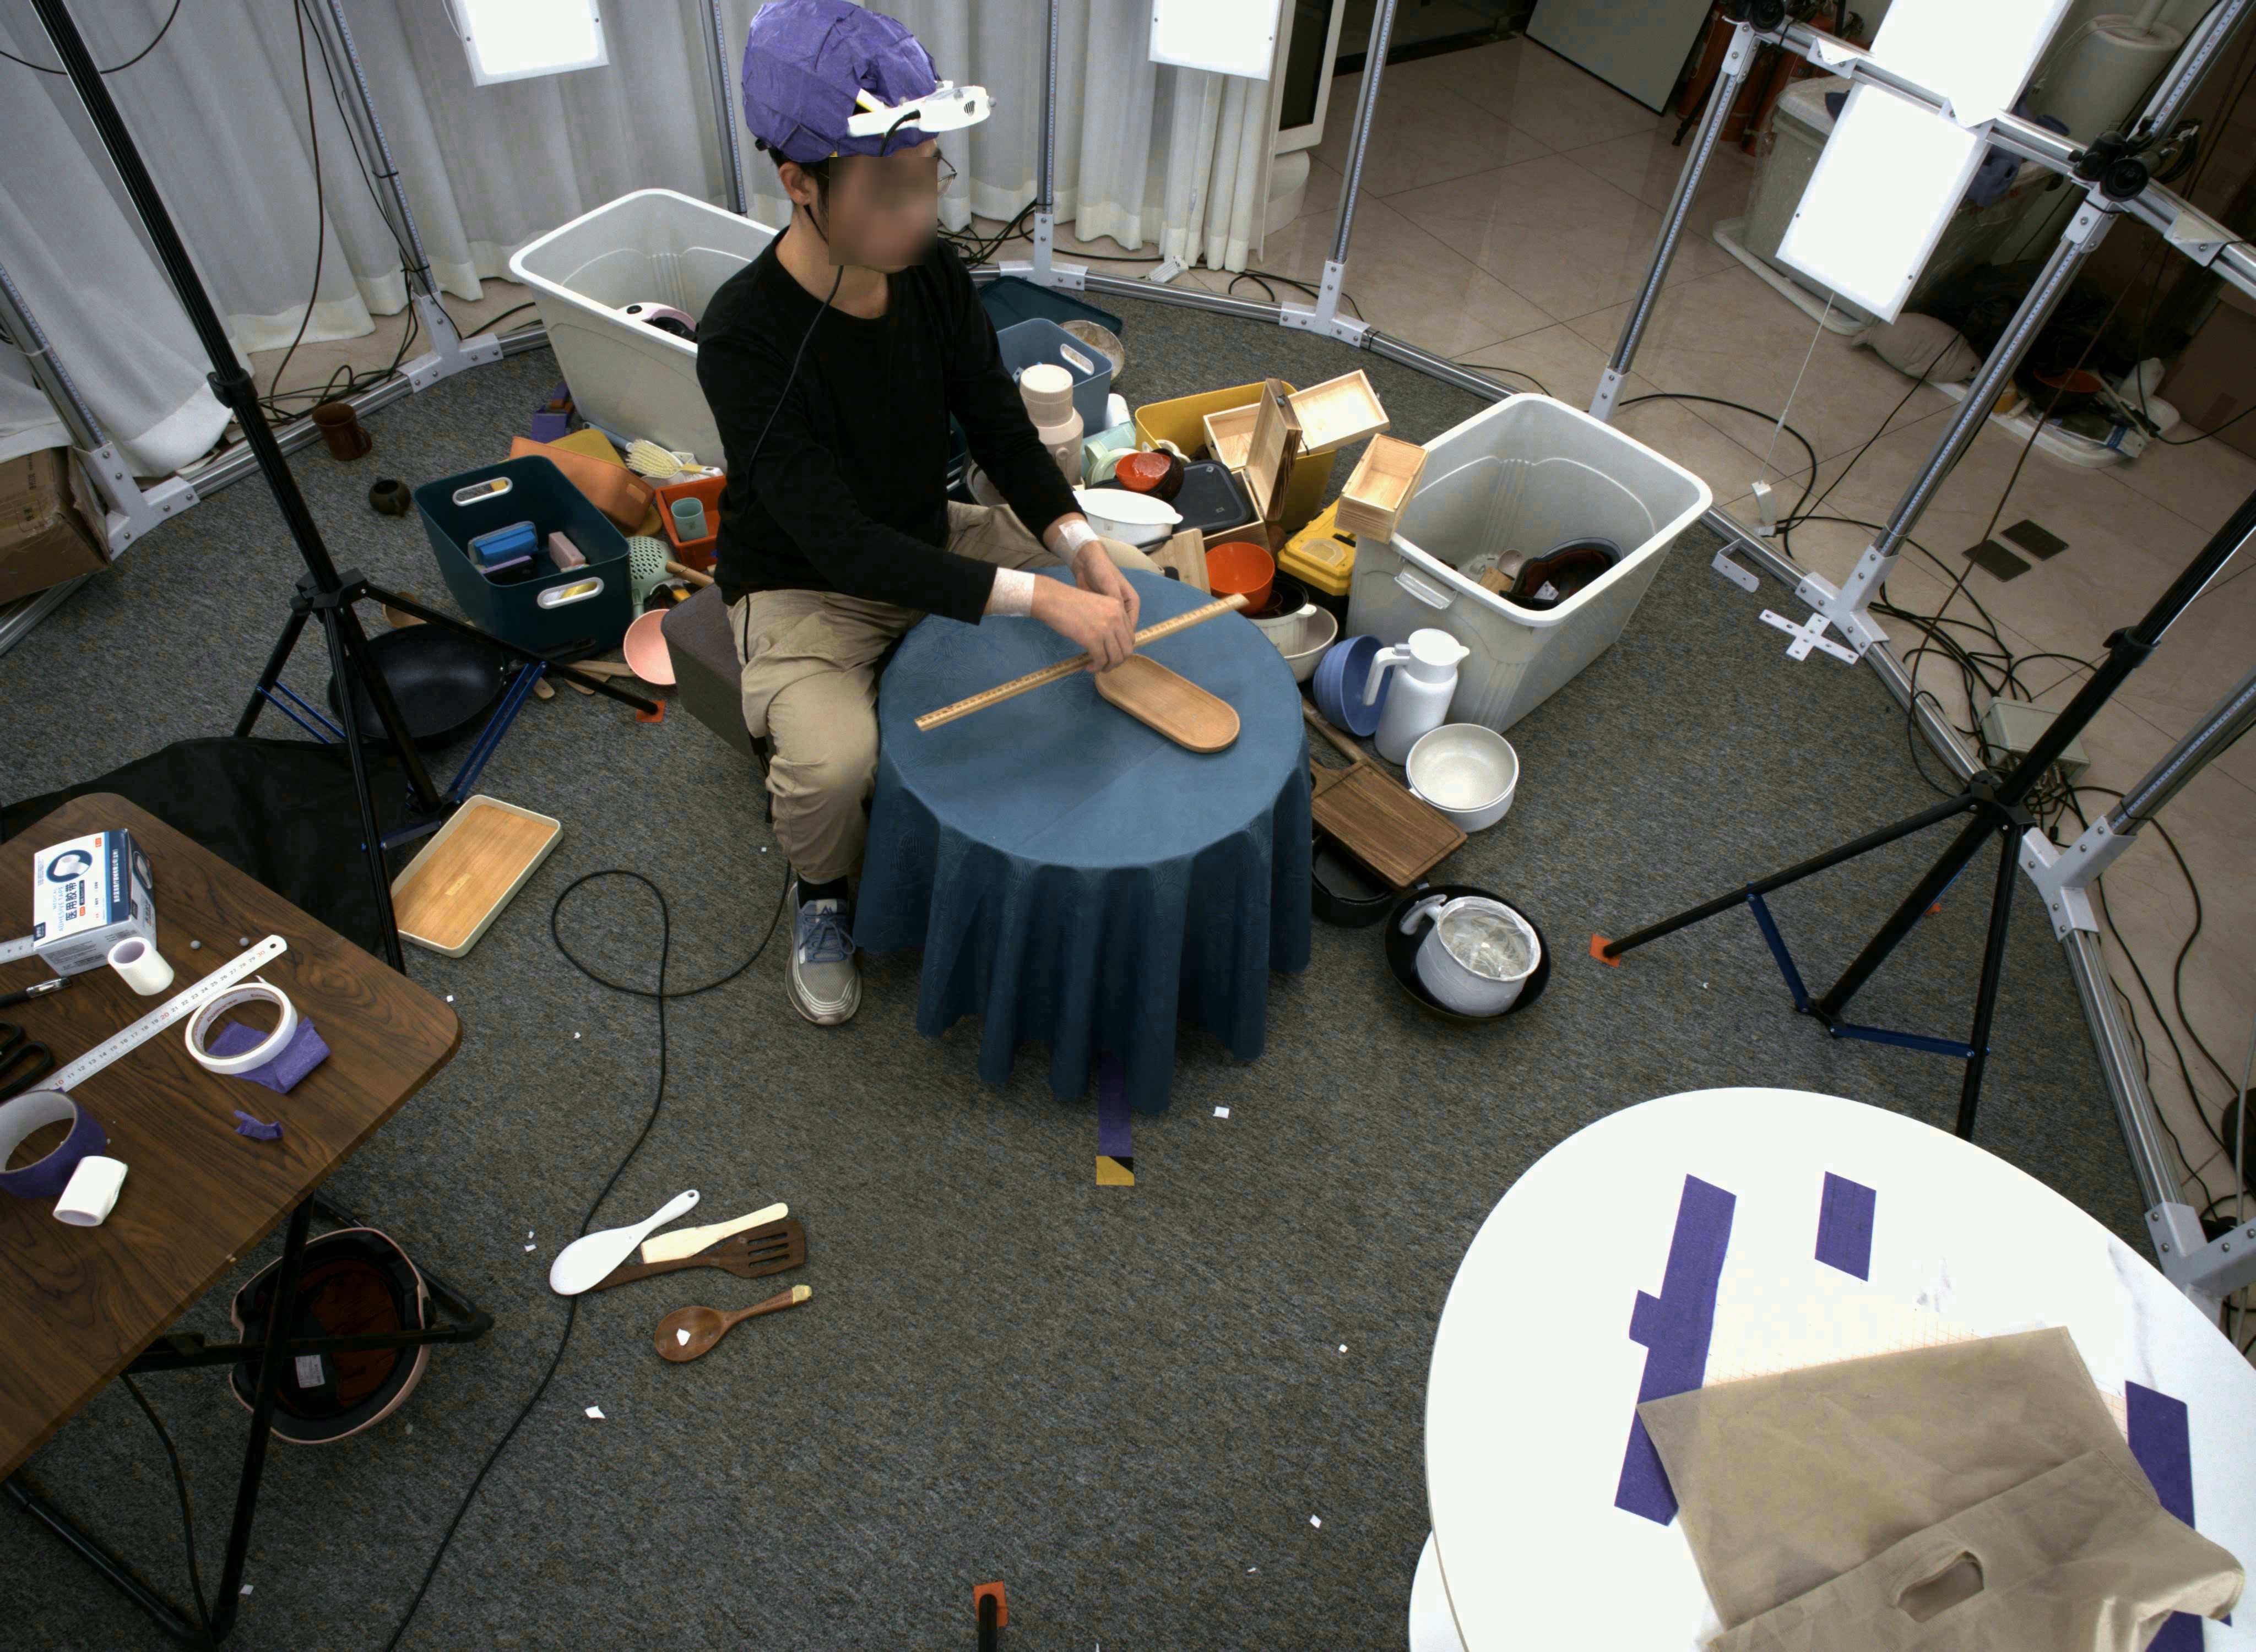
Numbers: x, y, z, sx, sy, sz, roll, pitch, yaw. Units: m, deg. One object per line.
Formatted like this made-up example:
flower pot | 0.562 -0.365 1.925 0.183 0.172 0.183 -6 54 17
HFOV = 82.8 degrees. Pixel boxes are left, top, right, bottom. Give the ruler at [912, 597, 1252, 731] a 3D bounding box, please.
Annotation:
ruler | -0.053 -0.222 1.720 0.502 0.006 0.027 -23 44 -18

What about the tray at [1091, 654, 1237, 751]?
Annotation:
tray | 0.049 -0.176 1.815 0.234 0.020 0.103 30 53 22
